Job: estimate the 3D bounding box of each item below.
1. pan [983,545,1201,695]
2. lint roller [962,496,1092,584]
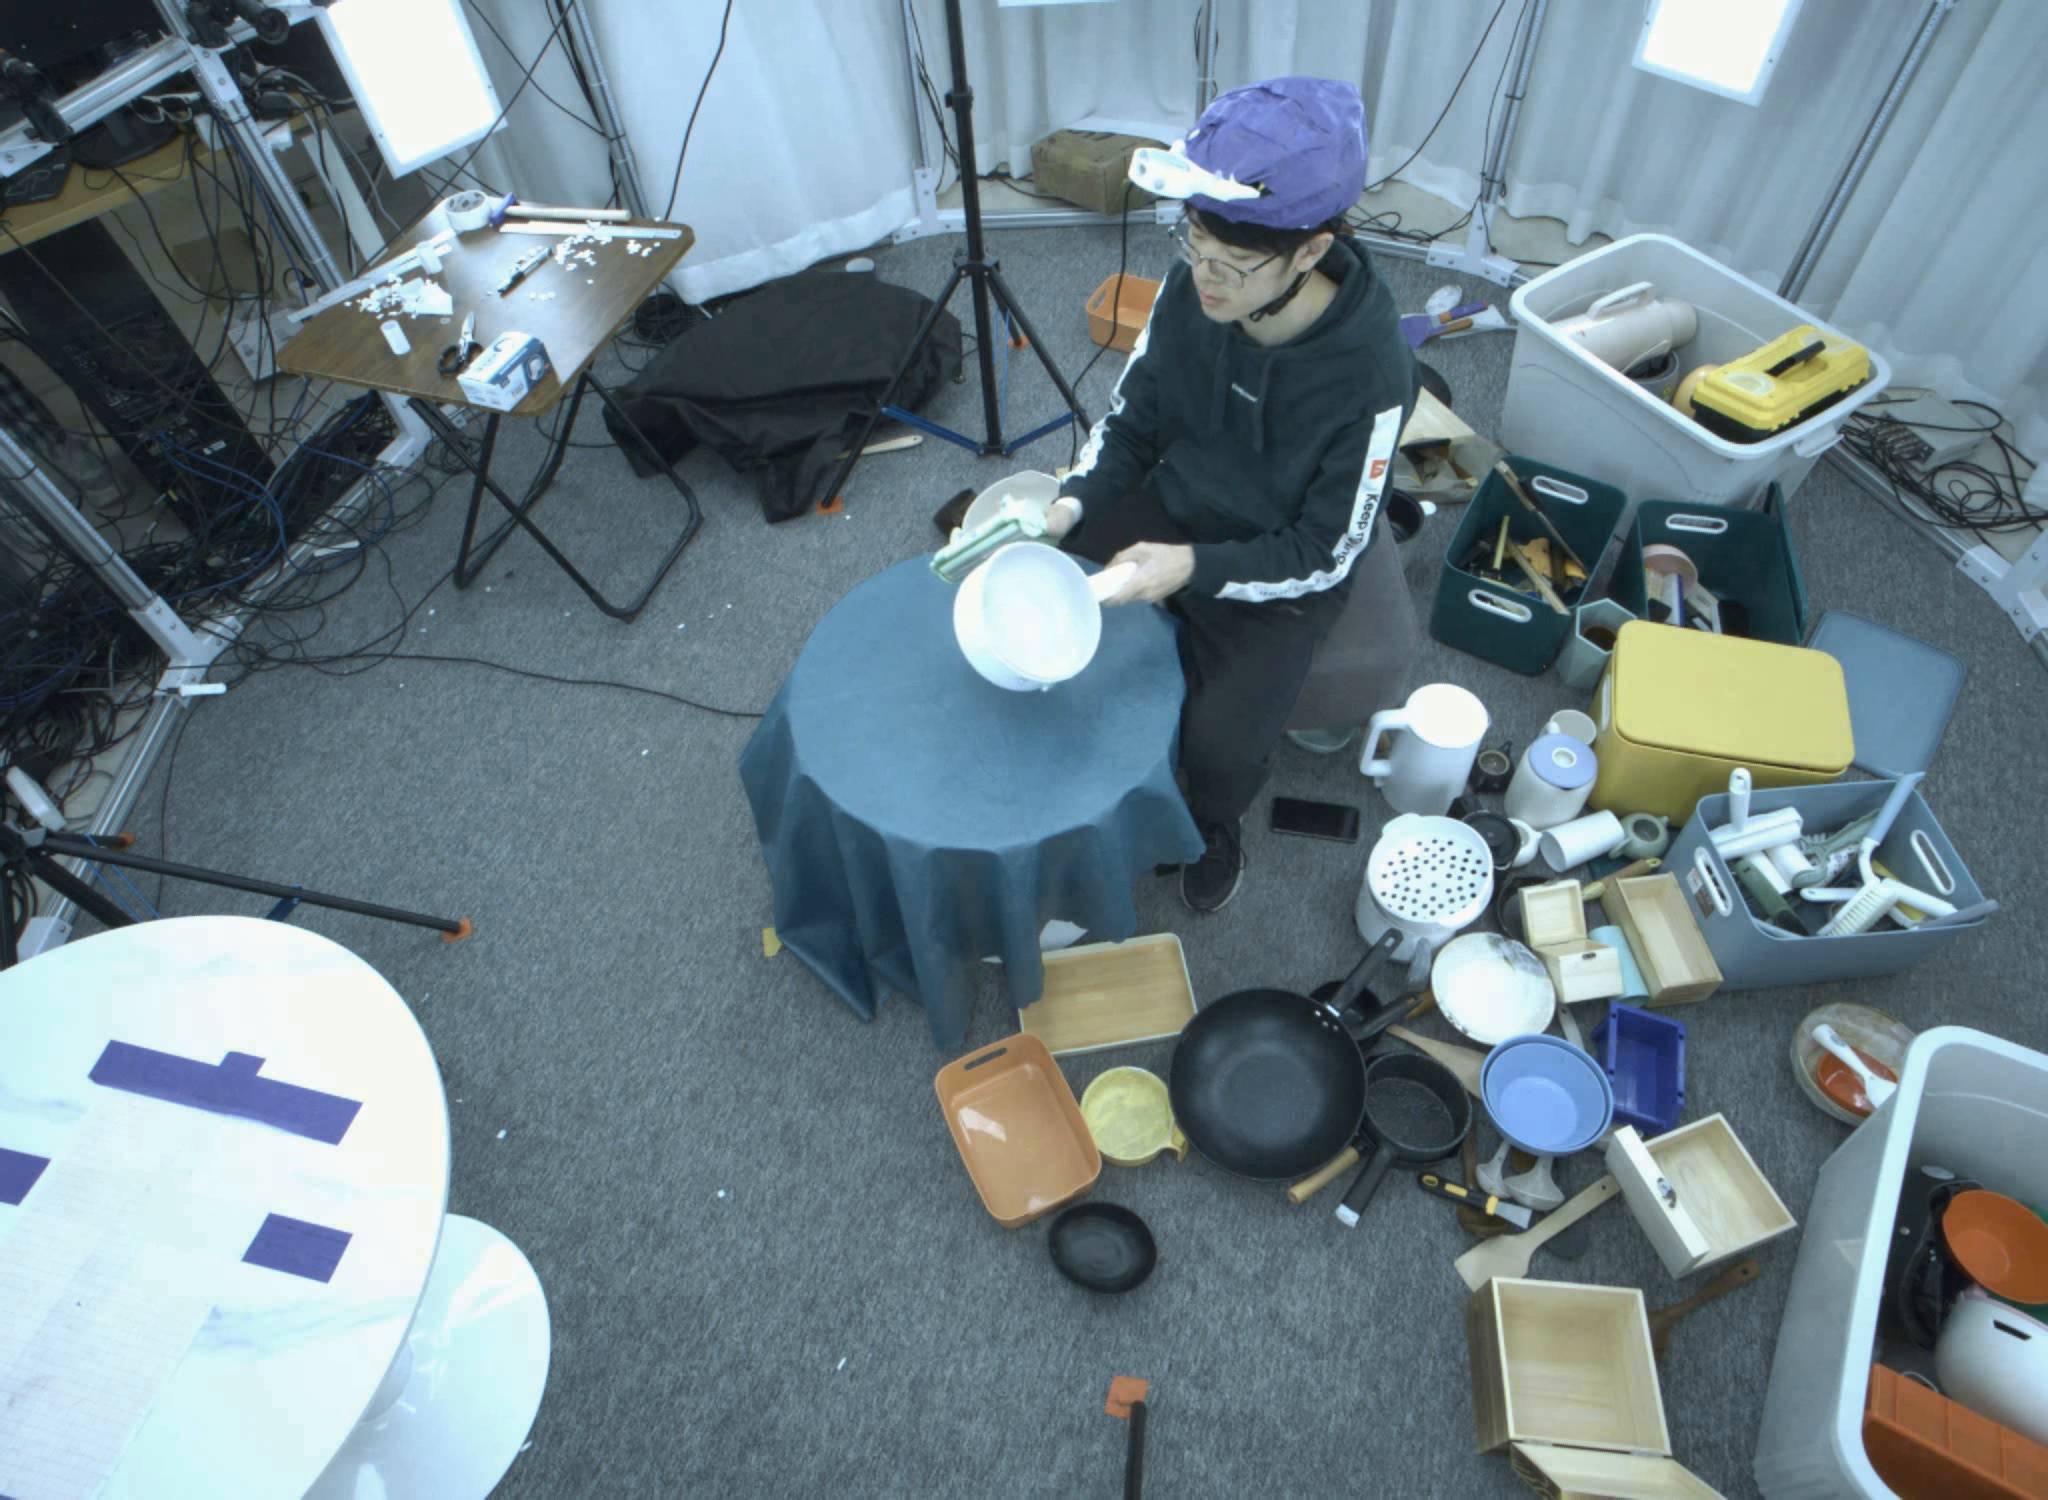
[{"bbox_3d":[0.099,-0.203,1.766,0.360,0.100,0.201,-25,92,-35],"label":"pan"},{"bbox_3d":[0.027,-0.317,1.783,0.186,0.195,0.082,-28,95,-45],"label":"lint roller"}]
